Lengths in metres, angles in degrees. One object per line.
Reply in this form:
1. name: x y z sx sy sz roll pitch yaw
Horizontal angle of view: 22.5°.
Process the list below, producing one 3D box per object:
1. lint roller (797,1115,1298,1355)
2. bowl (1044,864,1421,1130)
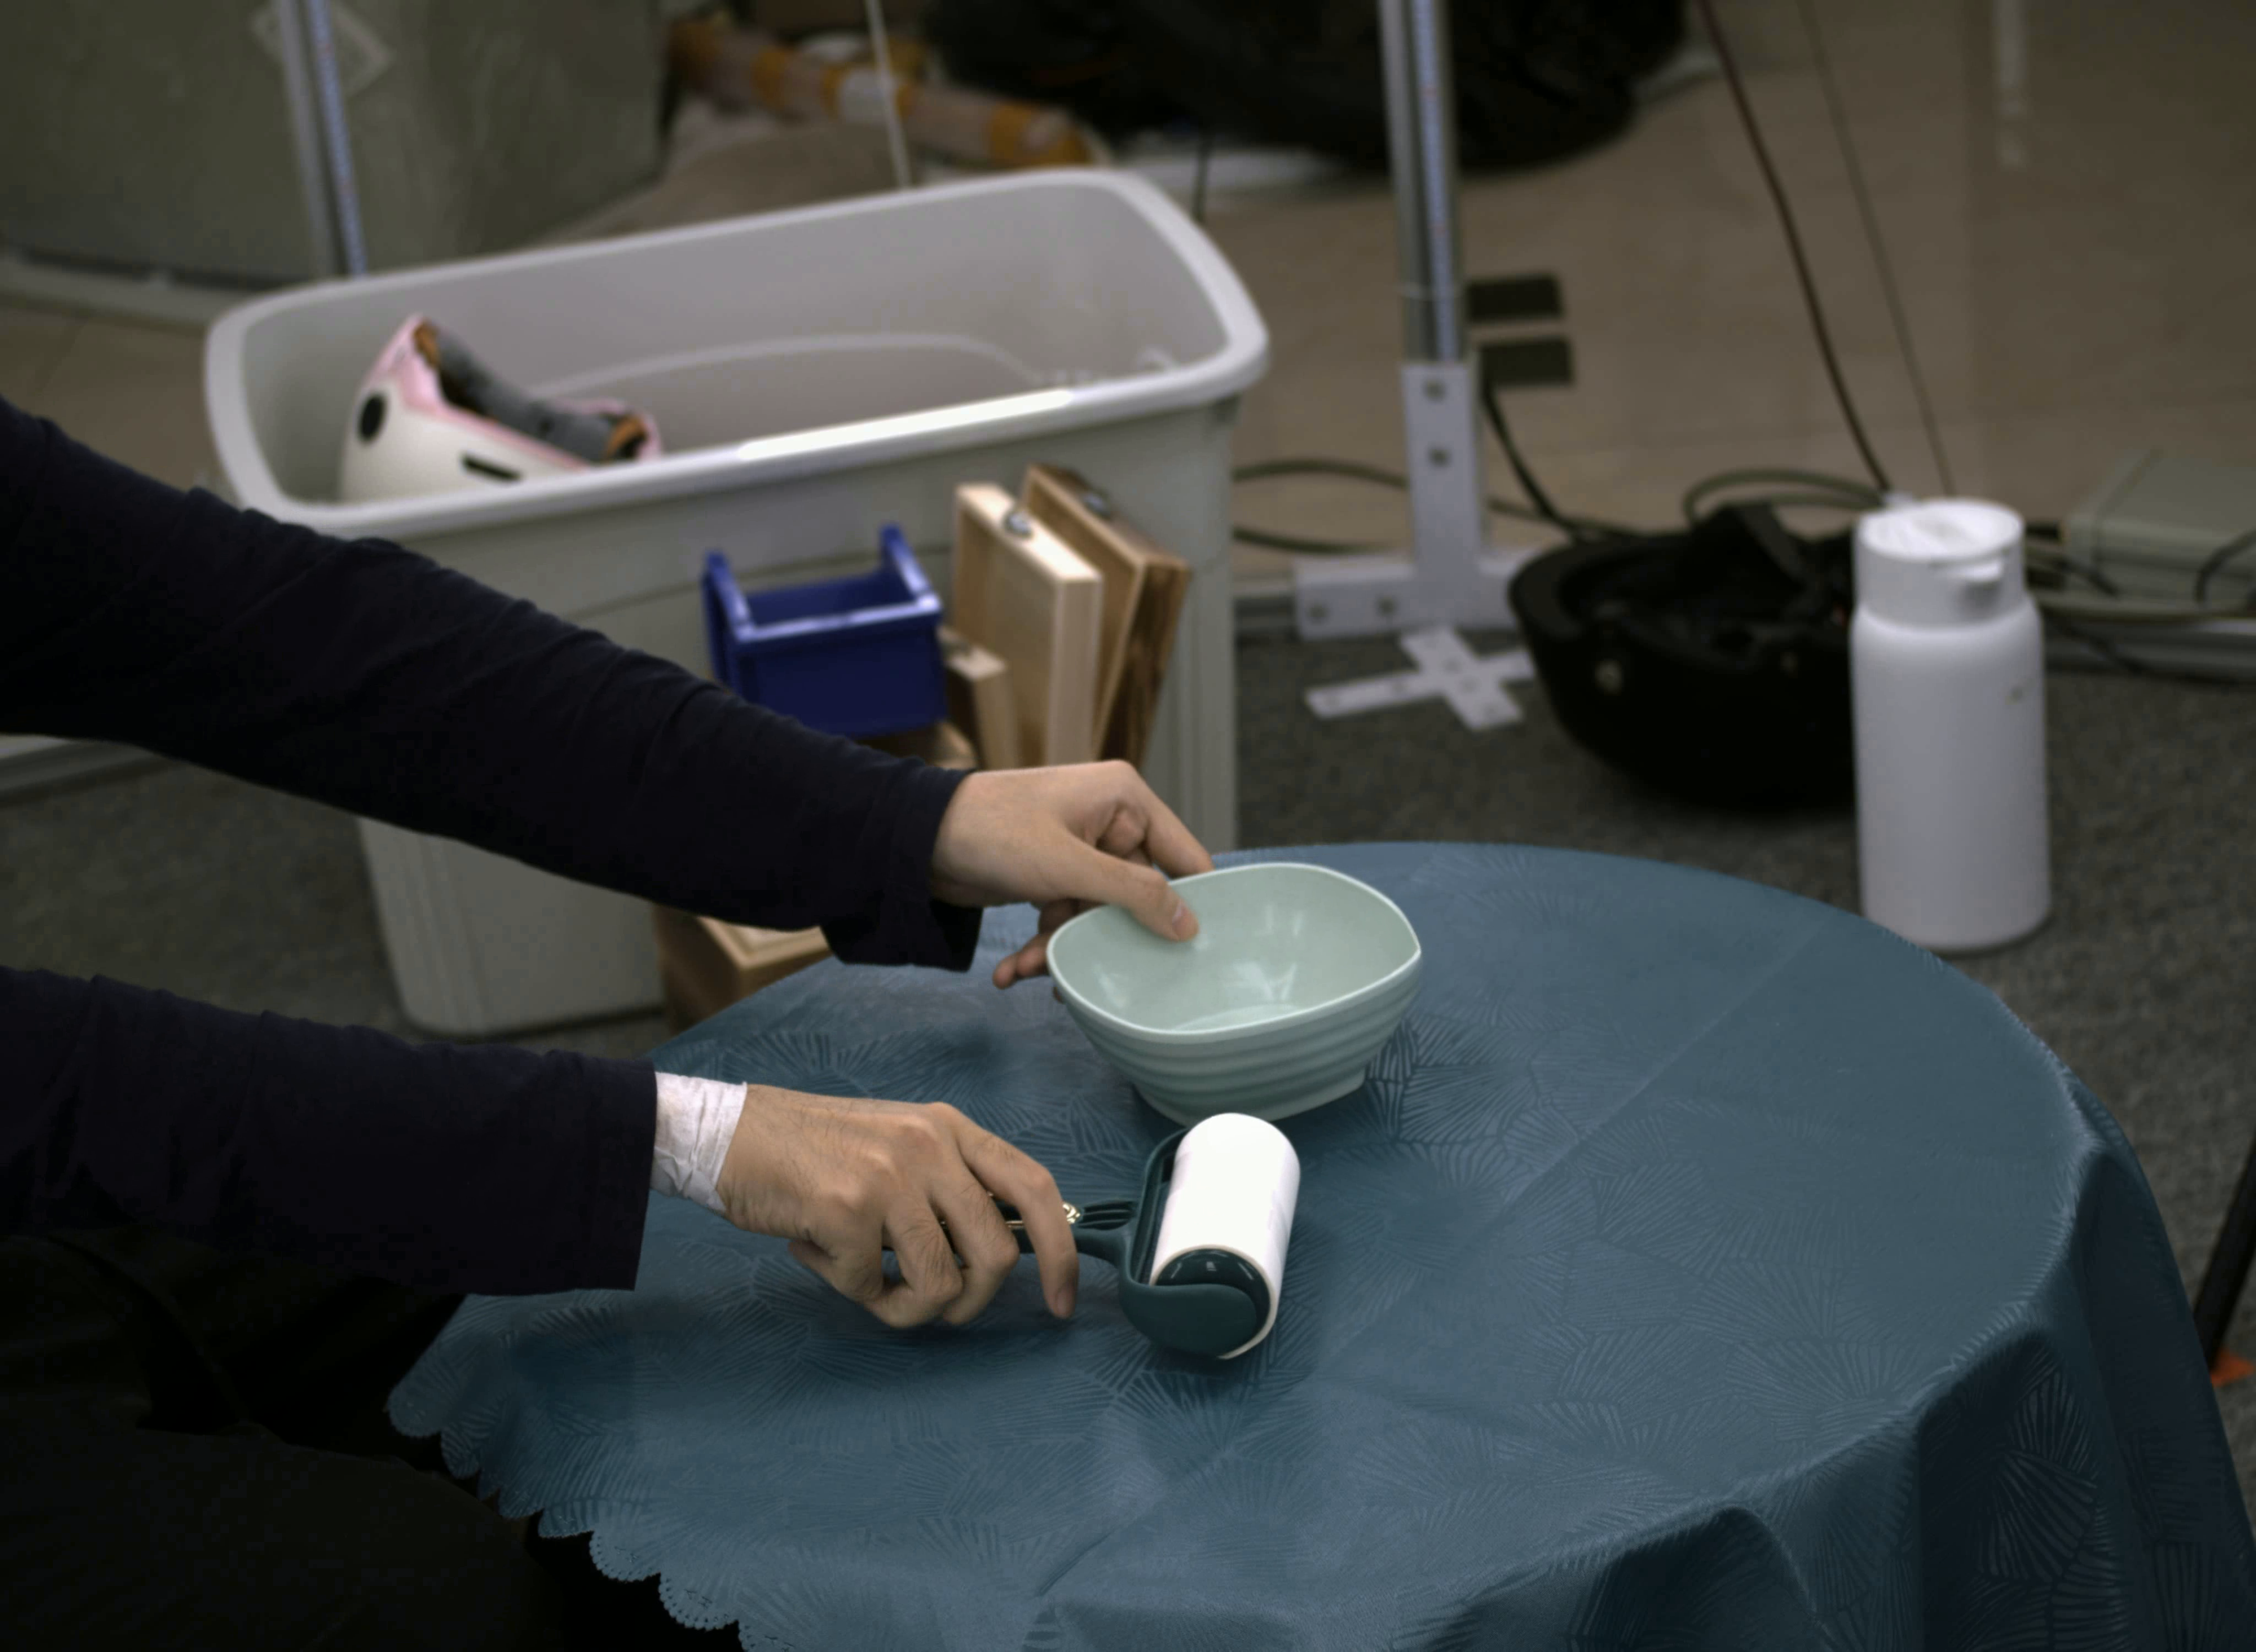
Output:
1. lint roller: -0.031 0.142 2.069 0.180 0.049 0.132 6 26 4
2. bowl: 0.042 0.072 2.217 0.151 0.059 0.149 -3 25 1
